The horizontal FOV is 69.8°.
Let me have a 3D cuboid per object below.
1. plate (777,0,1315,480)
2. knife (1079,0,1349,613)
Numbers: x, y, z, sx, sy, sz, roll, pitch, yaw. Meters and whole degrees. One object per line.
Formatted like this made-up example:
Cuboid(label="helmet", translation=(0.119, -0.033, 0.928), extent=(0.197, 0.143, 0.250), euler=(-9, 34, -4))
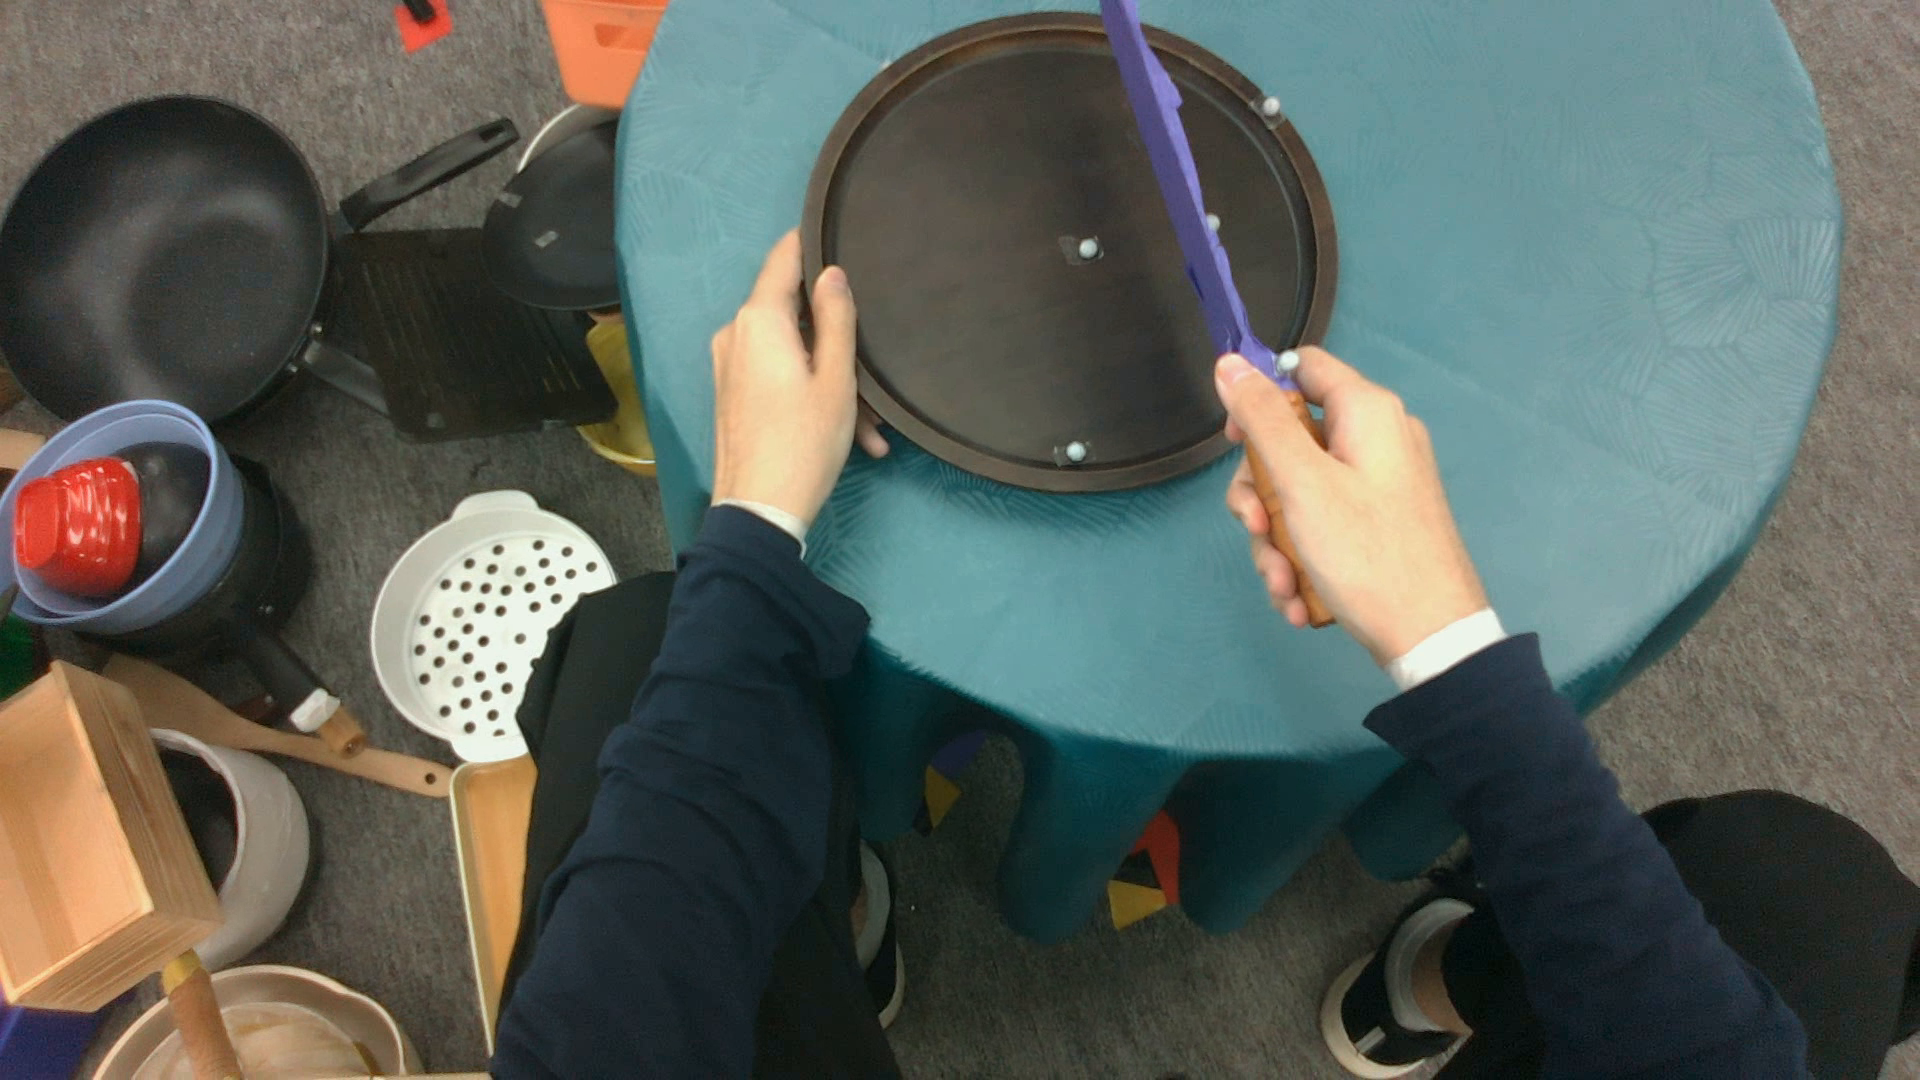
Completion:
Cuboid(label="plate", translation=(0.041, -0.146, 0.651), extent=(0.255, 0.029, 0.255), euler=(1, 71, -4))
Cuboid(label="knife", translation=(0.097, -0.121, 0.576), extent=(0.032, 0.104, 0.315), euler=(-16, 80, 7))
